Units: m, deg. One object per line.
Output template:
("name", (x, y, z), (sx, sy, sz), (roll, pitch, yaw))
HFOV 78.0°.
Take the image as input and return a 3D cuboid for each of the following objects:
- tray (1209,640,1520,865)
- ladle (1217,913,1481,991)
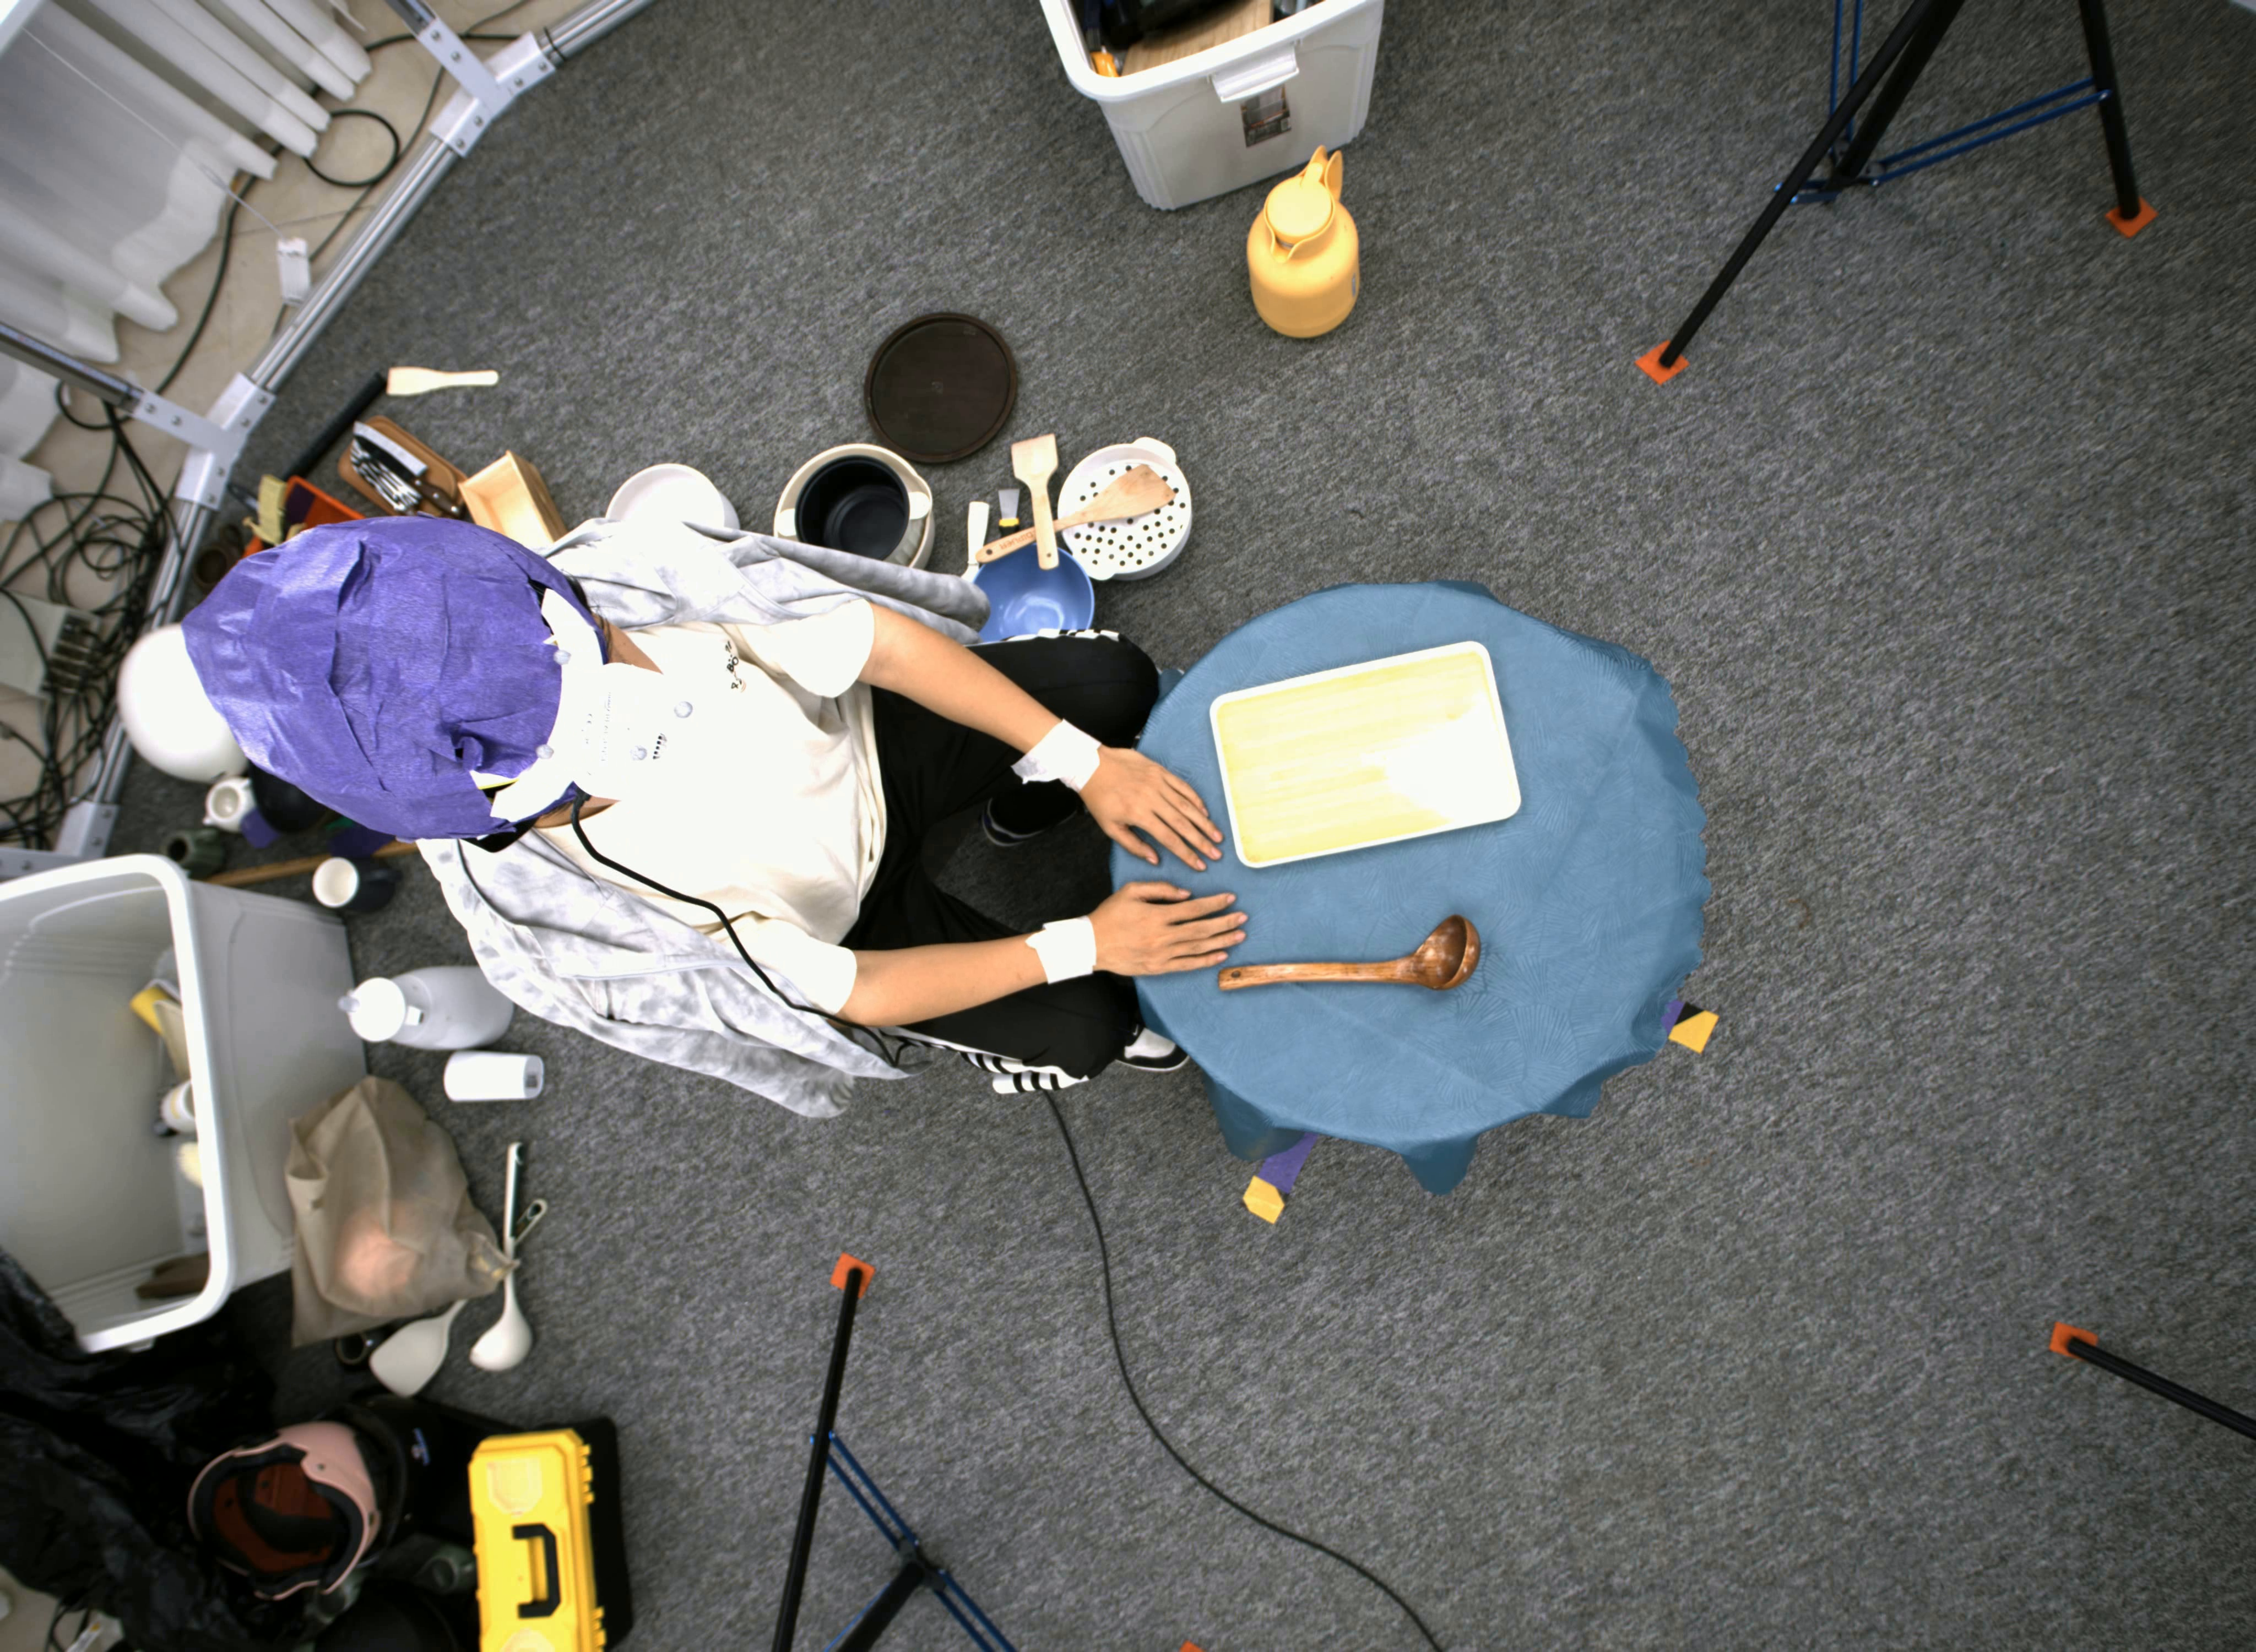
("tray", (0.247, -0.078, 1.457), (0.302, 0.027, 0.190), (-11, 85, 10))
("ladle", (0.224, 0.133, 1.428), (0.275, 0.078, 0.079), (-2, 44, 12))
